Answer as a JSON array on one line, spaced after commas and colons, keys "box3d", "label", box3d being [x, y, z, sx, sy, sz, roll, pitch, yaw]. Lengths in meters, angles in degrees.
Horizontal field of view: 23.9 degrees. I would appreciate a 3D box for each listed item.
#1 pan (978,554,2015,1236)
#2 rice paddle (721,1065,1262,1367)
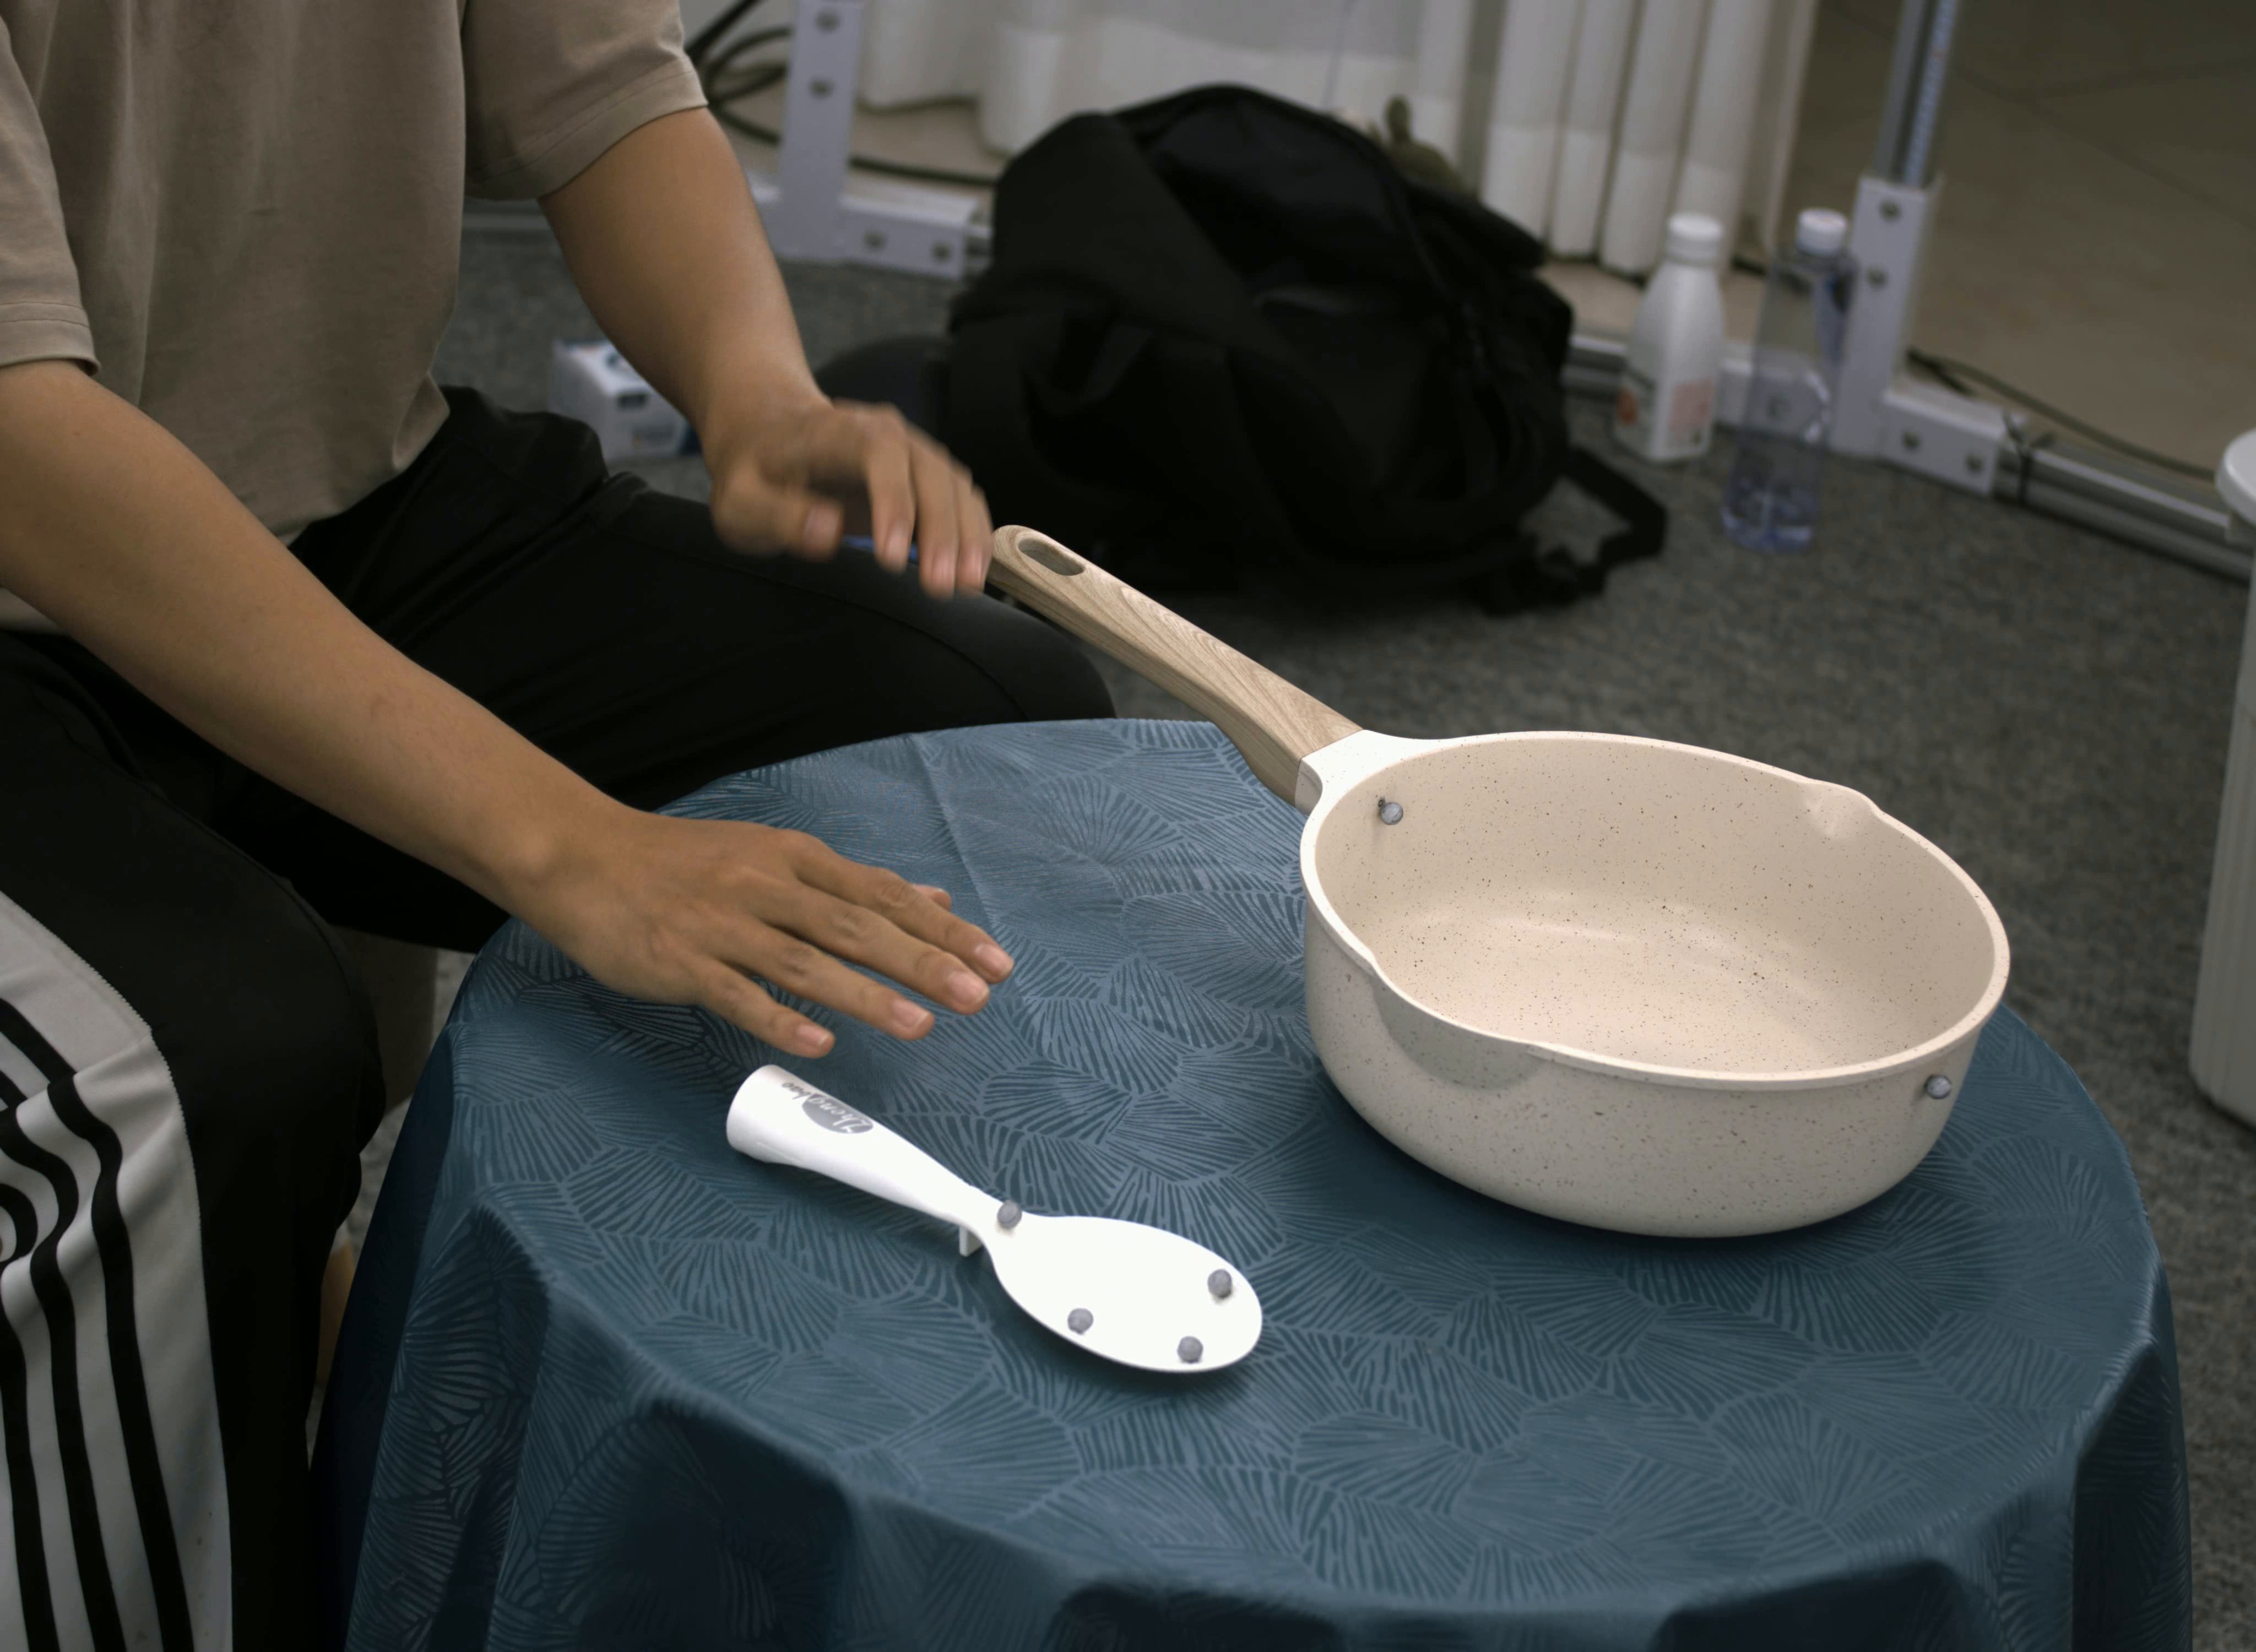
[{"box3d": [0.113, 0.019, 1.934, 0.438, 0.101, 0.262, 25, 35, 32], "label": "pan"}, {"box3d": [-0.045, 0.129, 1.749, 0.206, 0.029, 0.068, 23, 37, 28], "label": "rice paddle"}]
